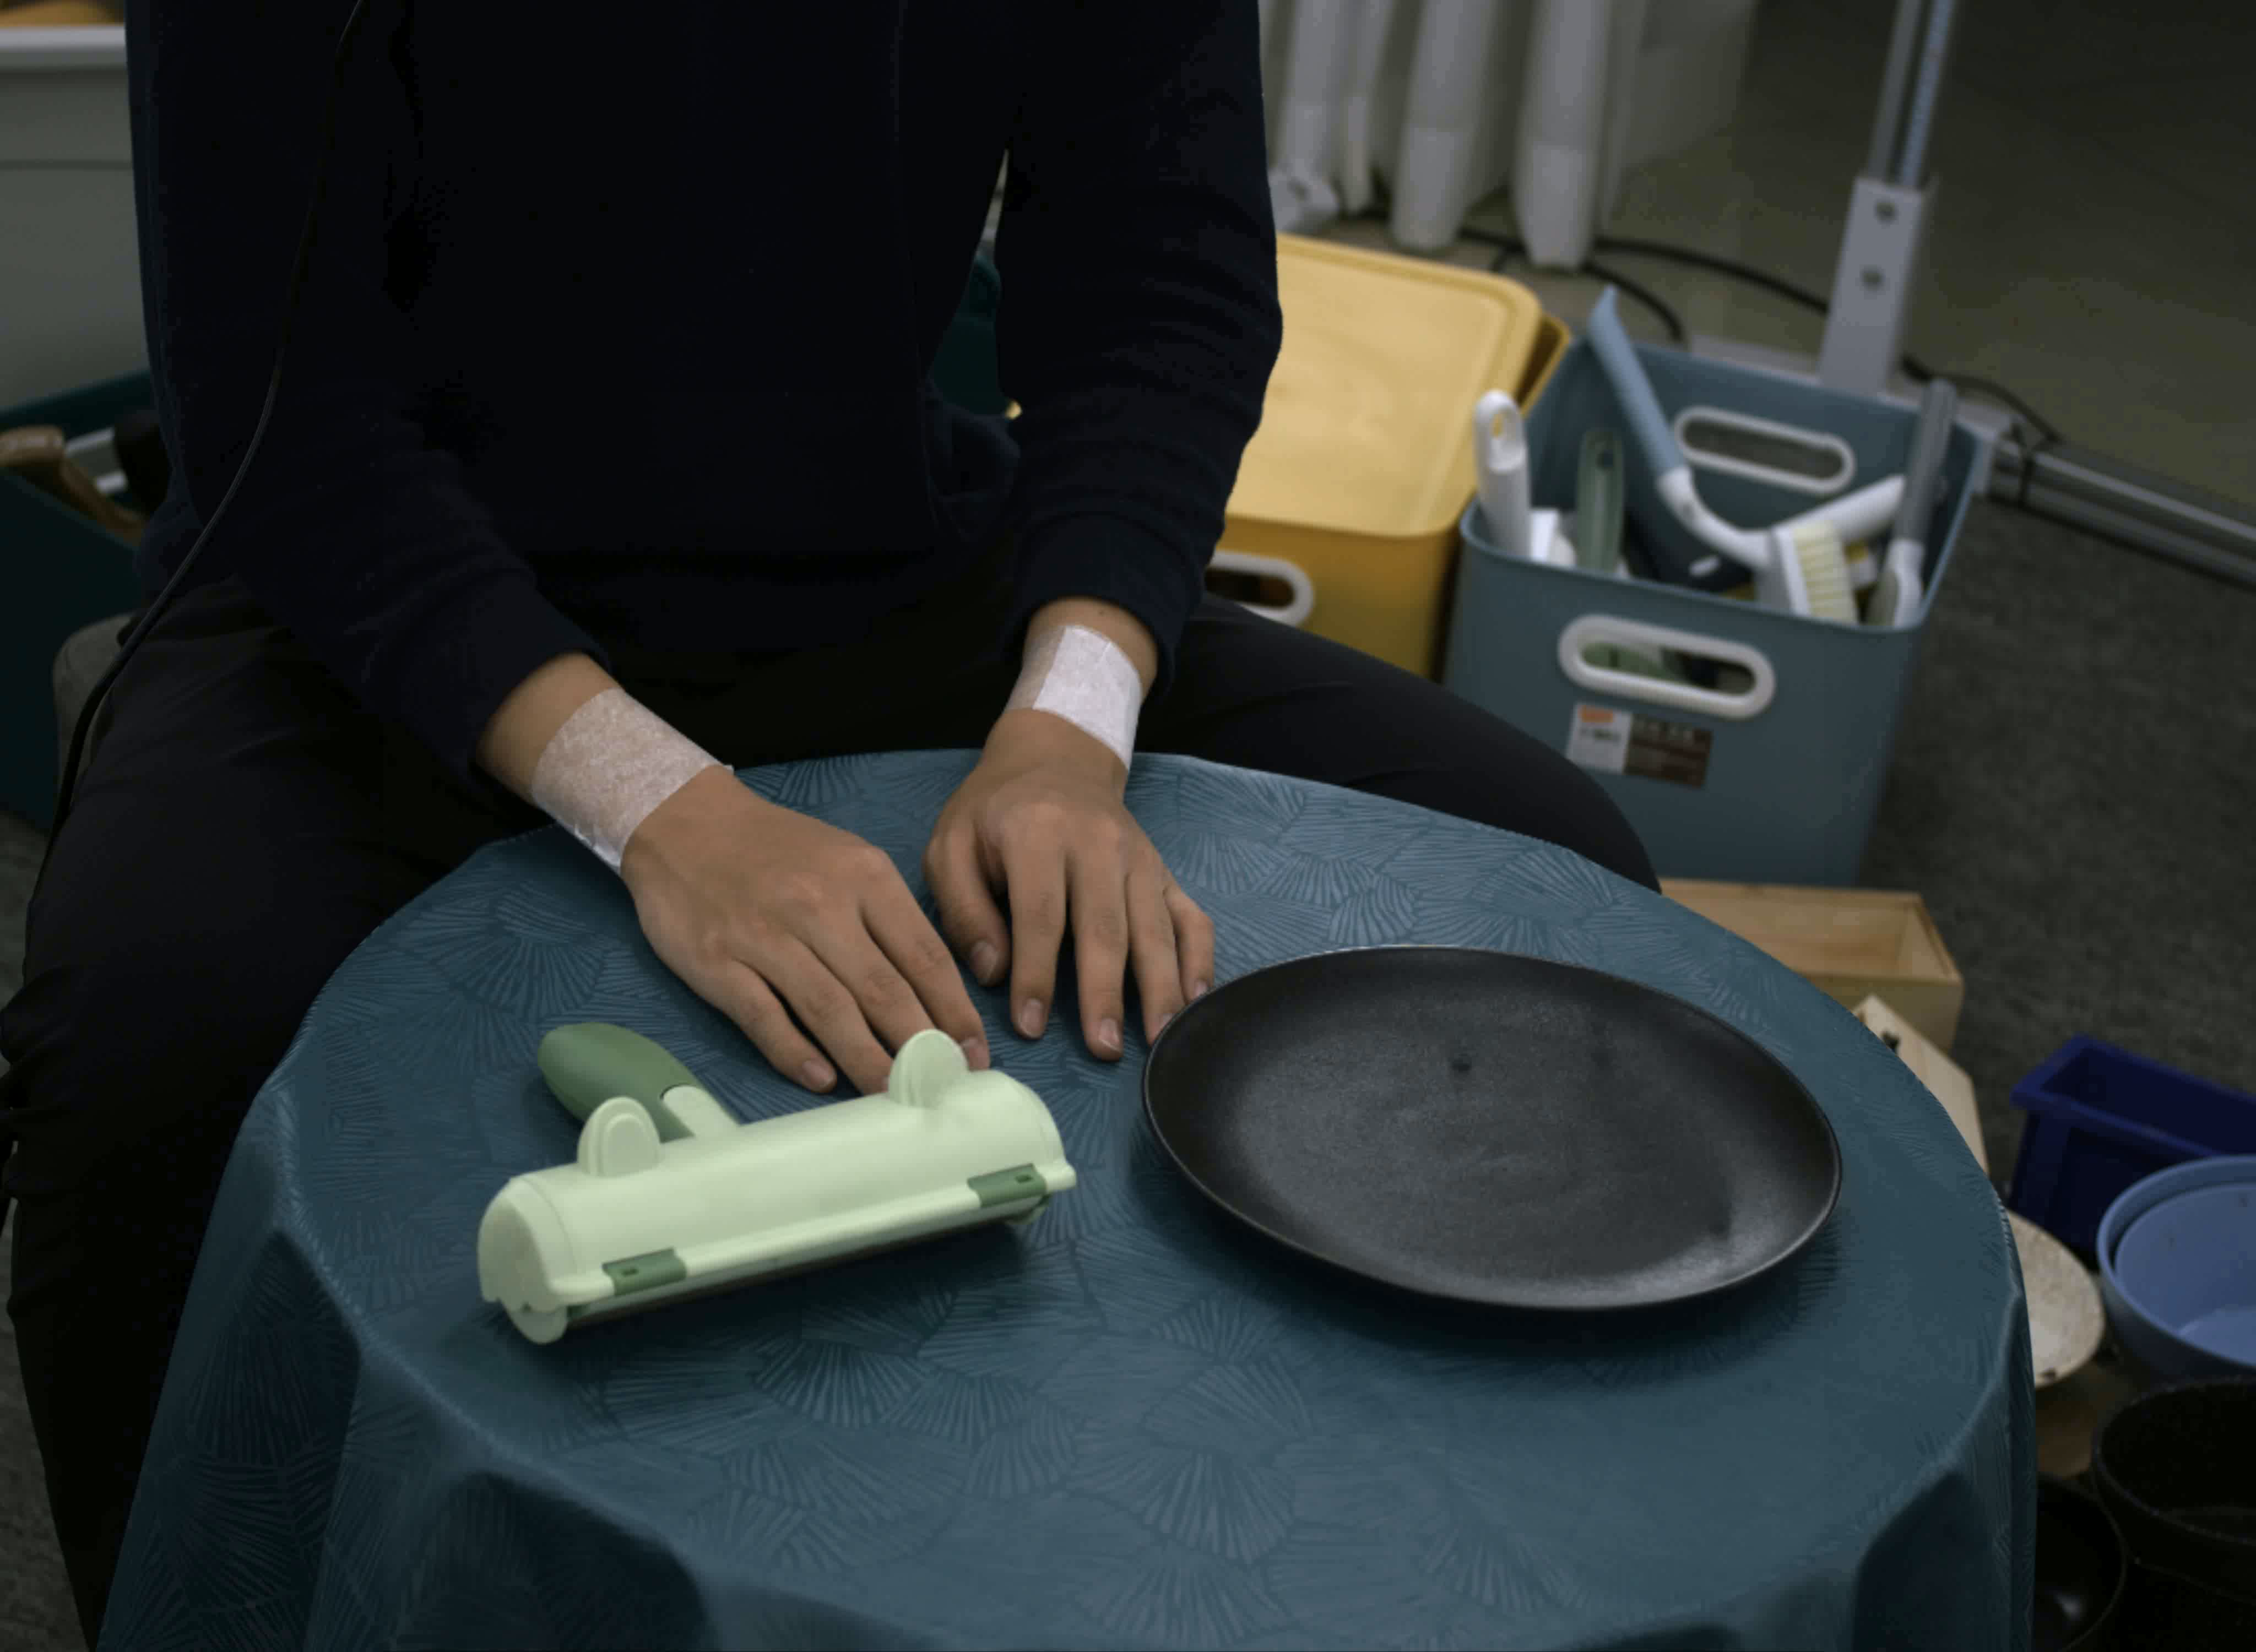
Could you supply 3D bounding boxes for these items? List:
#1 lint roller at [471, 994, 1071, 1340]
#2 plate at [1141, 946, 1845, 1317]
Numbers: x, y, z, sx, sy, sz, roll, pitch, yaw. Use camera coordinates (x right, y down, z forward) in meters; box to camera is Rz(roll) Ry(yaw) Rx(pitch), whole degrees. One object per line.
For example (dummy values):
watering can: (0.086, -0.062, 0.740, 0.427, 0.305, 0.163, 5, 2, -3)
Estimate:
lint roller: (-0.144, 0.086, 1.751, 0.197, 0.082, 0.185, -11, 38, -33)
plate: (0.125, 0.110, 1.832, 0.243, 0.023, 0.246, 5, 27, -3)
